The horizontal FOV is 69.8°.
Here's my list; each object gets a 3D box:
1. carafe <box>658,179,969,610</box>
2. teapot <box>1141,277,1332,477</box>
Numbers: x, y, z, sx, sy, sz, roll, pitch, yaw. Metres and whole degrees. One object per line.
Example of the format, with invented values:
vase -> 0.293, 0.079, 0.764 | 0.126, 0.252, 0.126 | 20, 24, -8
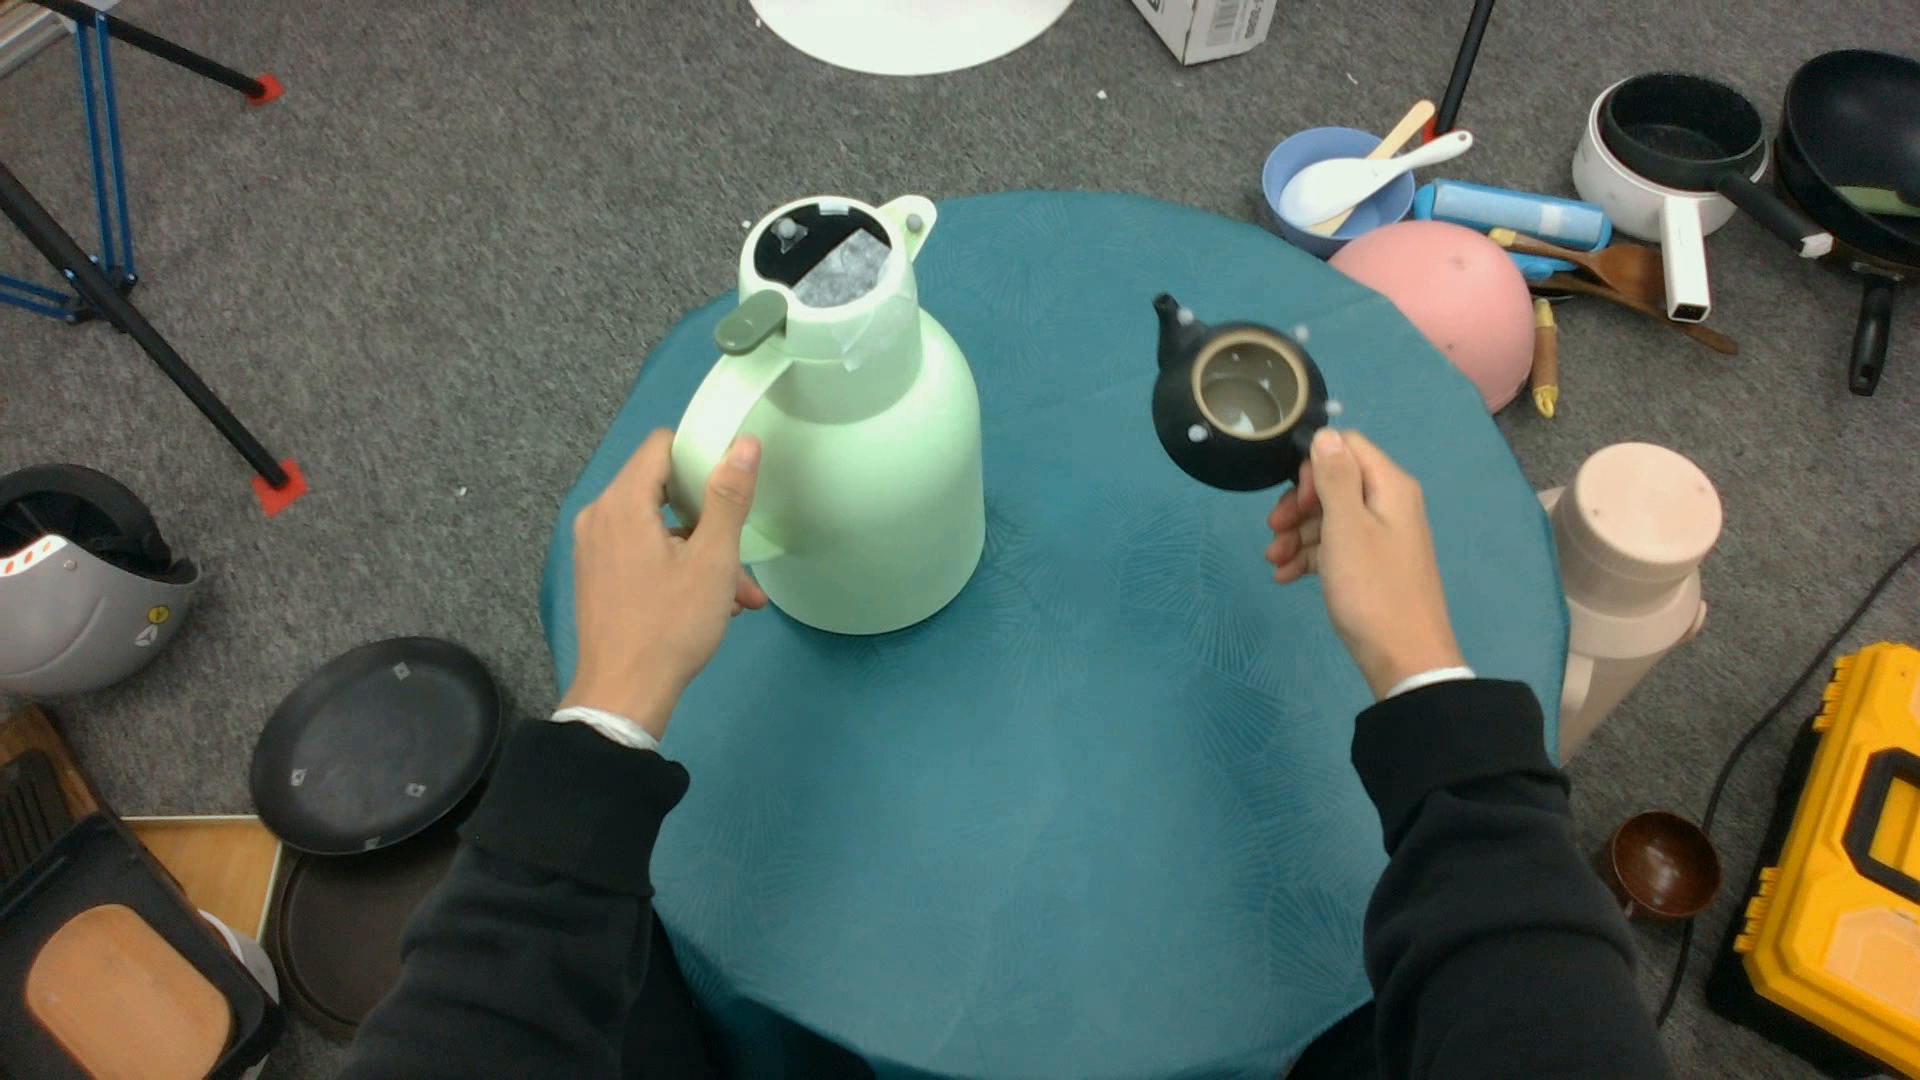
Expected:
carafe -> -0.076, -0.065, 0.726 | 0.144, 0.256, 0.187 | 33, 69, 17
teapot -> 0.140, -0.080, 0.715 | 0.091, 0.053, 0.133 | -41, 76, -10
